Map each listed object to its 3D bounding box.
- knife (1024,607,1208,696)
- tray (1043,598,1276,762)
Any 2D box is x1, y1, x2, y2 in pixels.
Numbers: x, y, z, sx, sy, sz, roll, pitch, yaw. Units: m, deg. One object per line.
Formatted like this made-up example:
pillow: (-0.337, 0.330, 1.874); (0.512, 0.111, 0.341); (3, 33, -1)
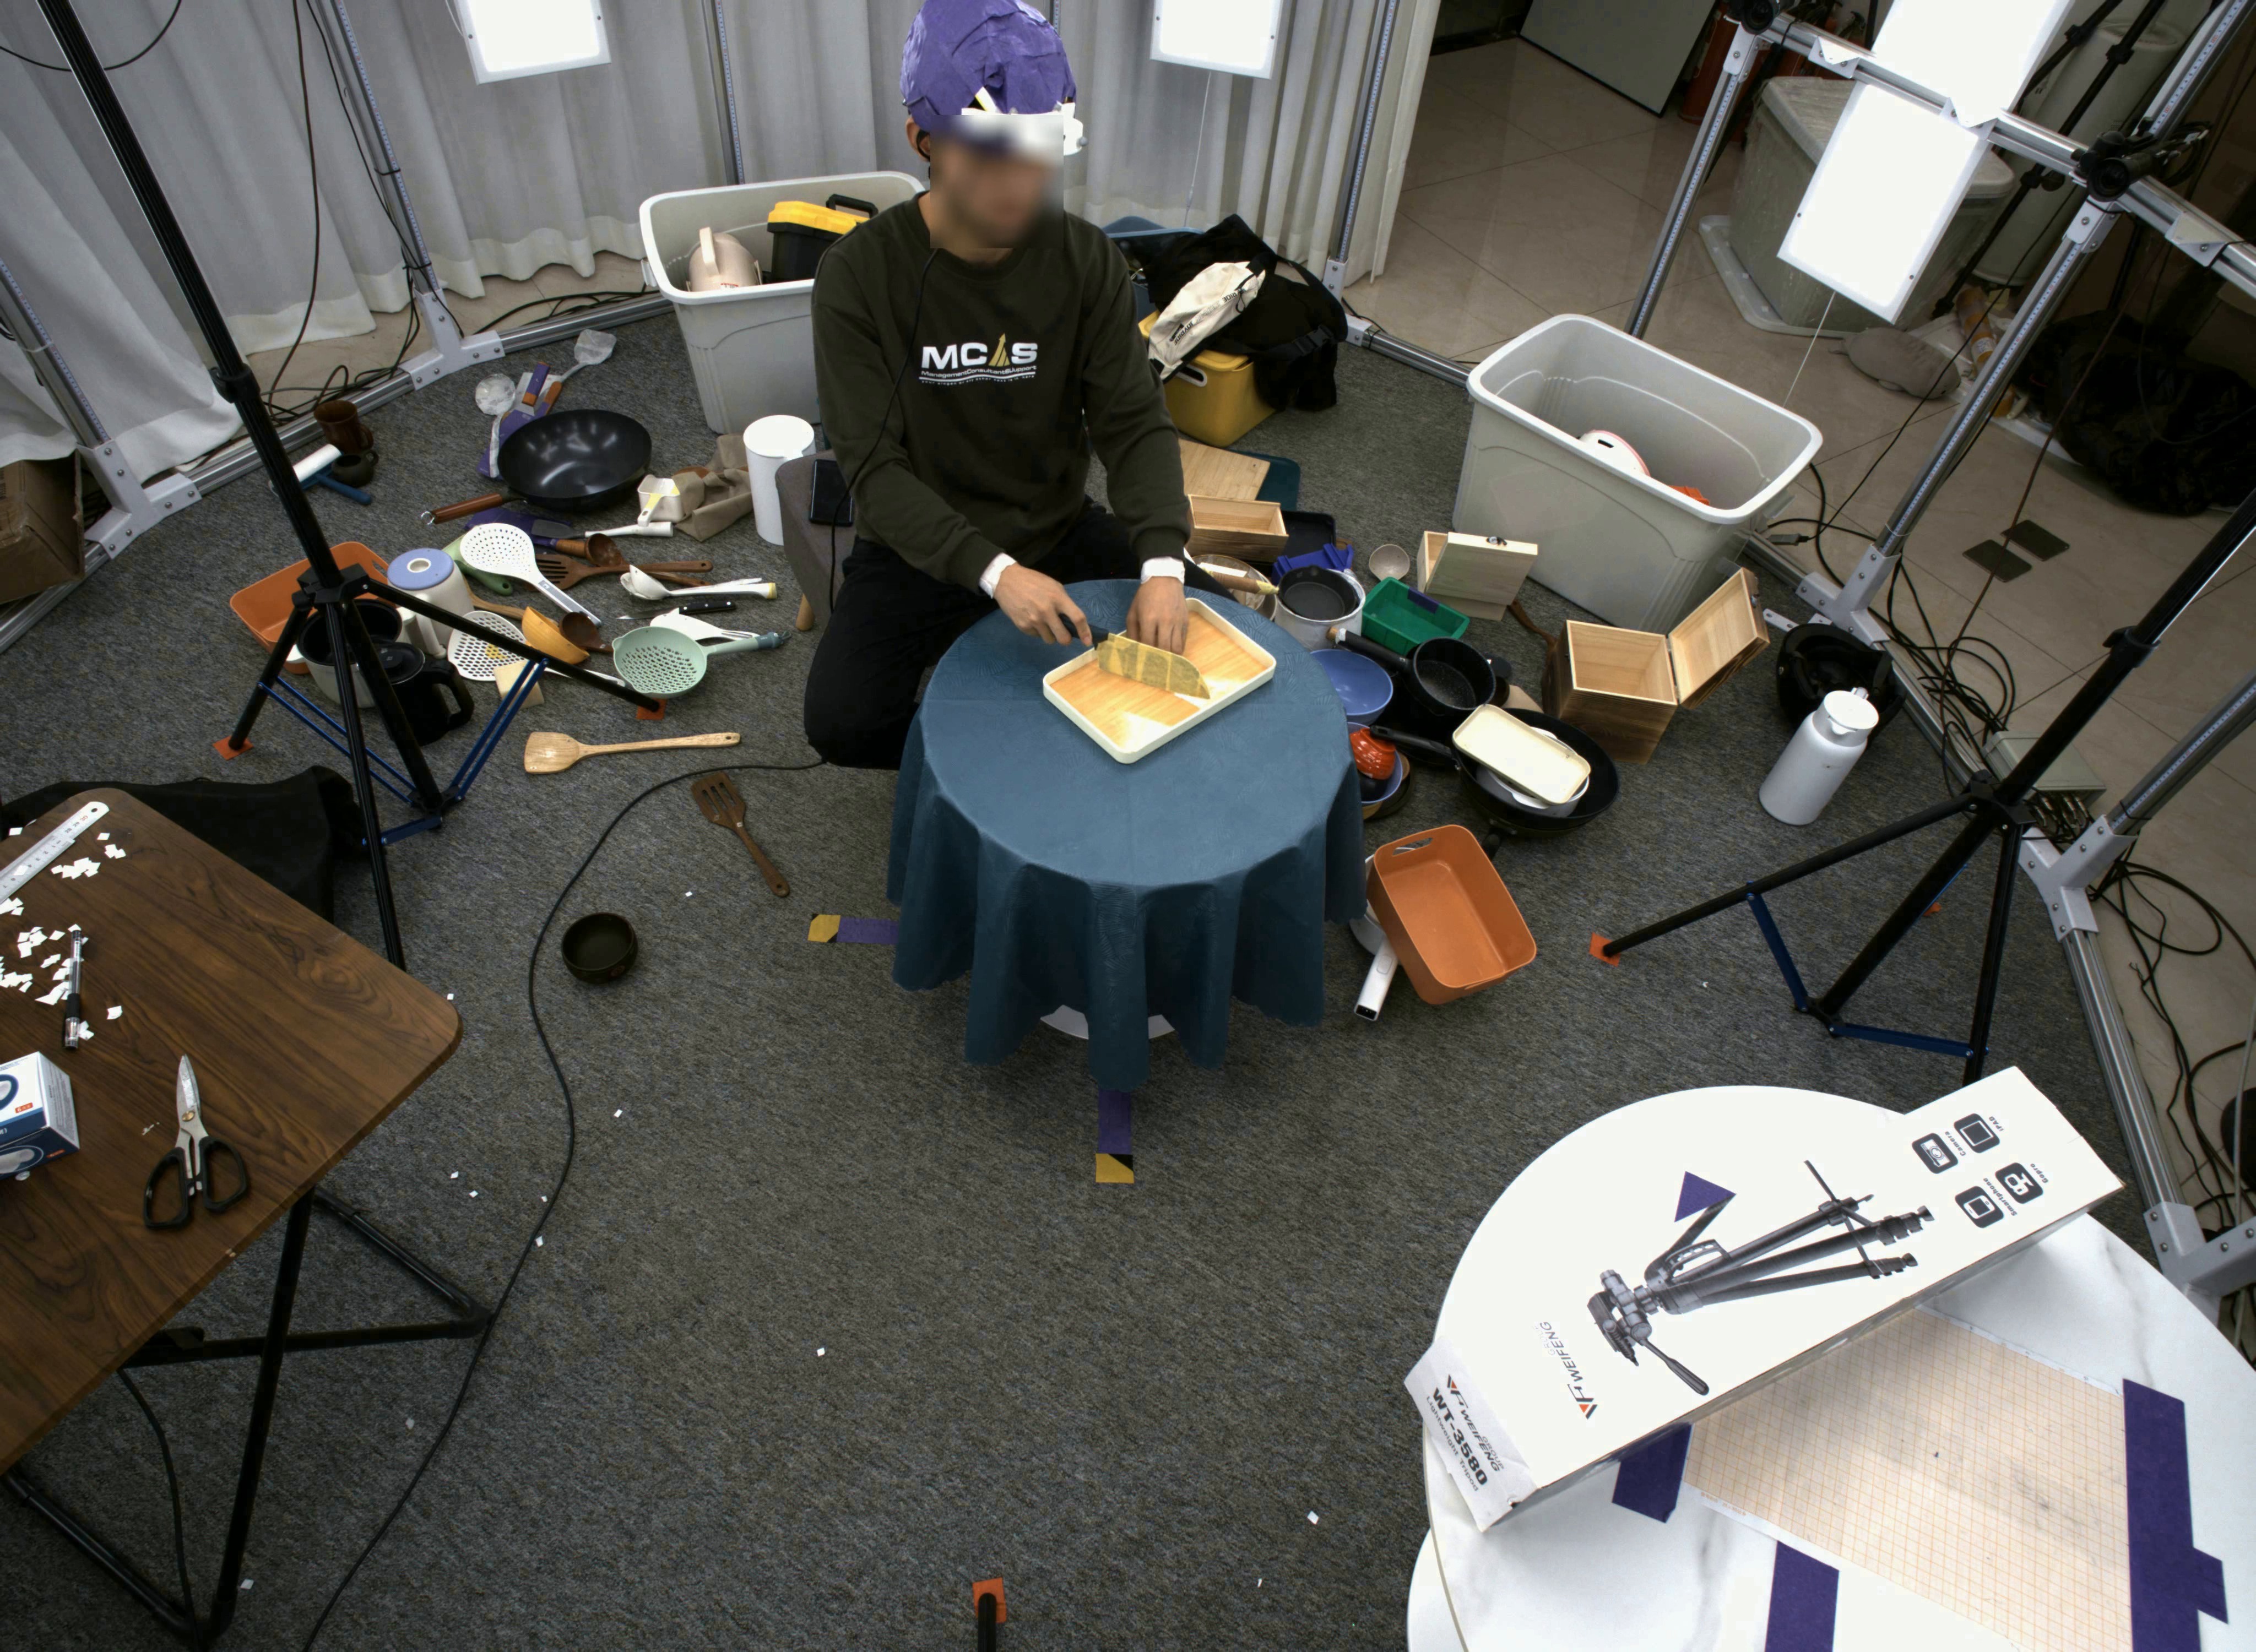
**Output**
knife: (-0.018, -0.247, 1.822); (0.291, 0.079, 0.028); (23, 50, 14)
tray: (0.046, -0.215, 1.840); (0.302, 0.027, 0.195); (-32, 57, -28)
